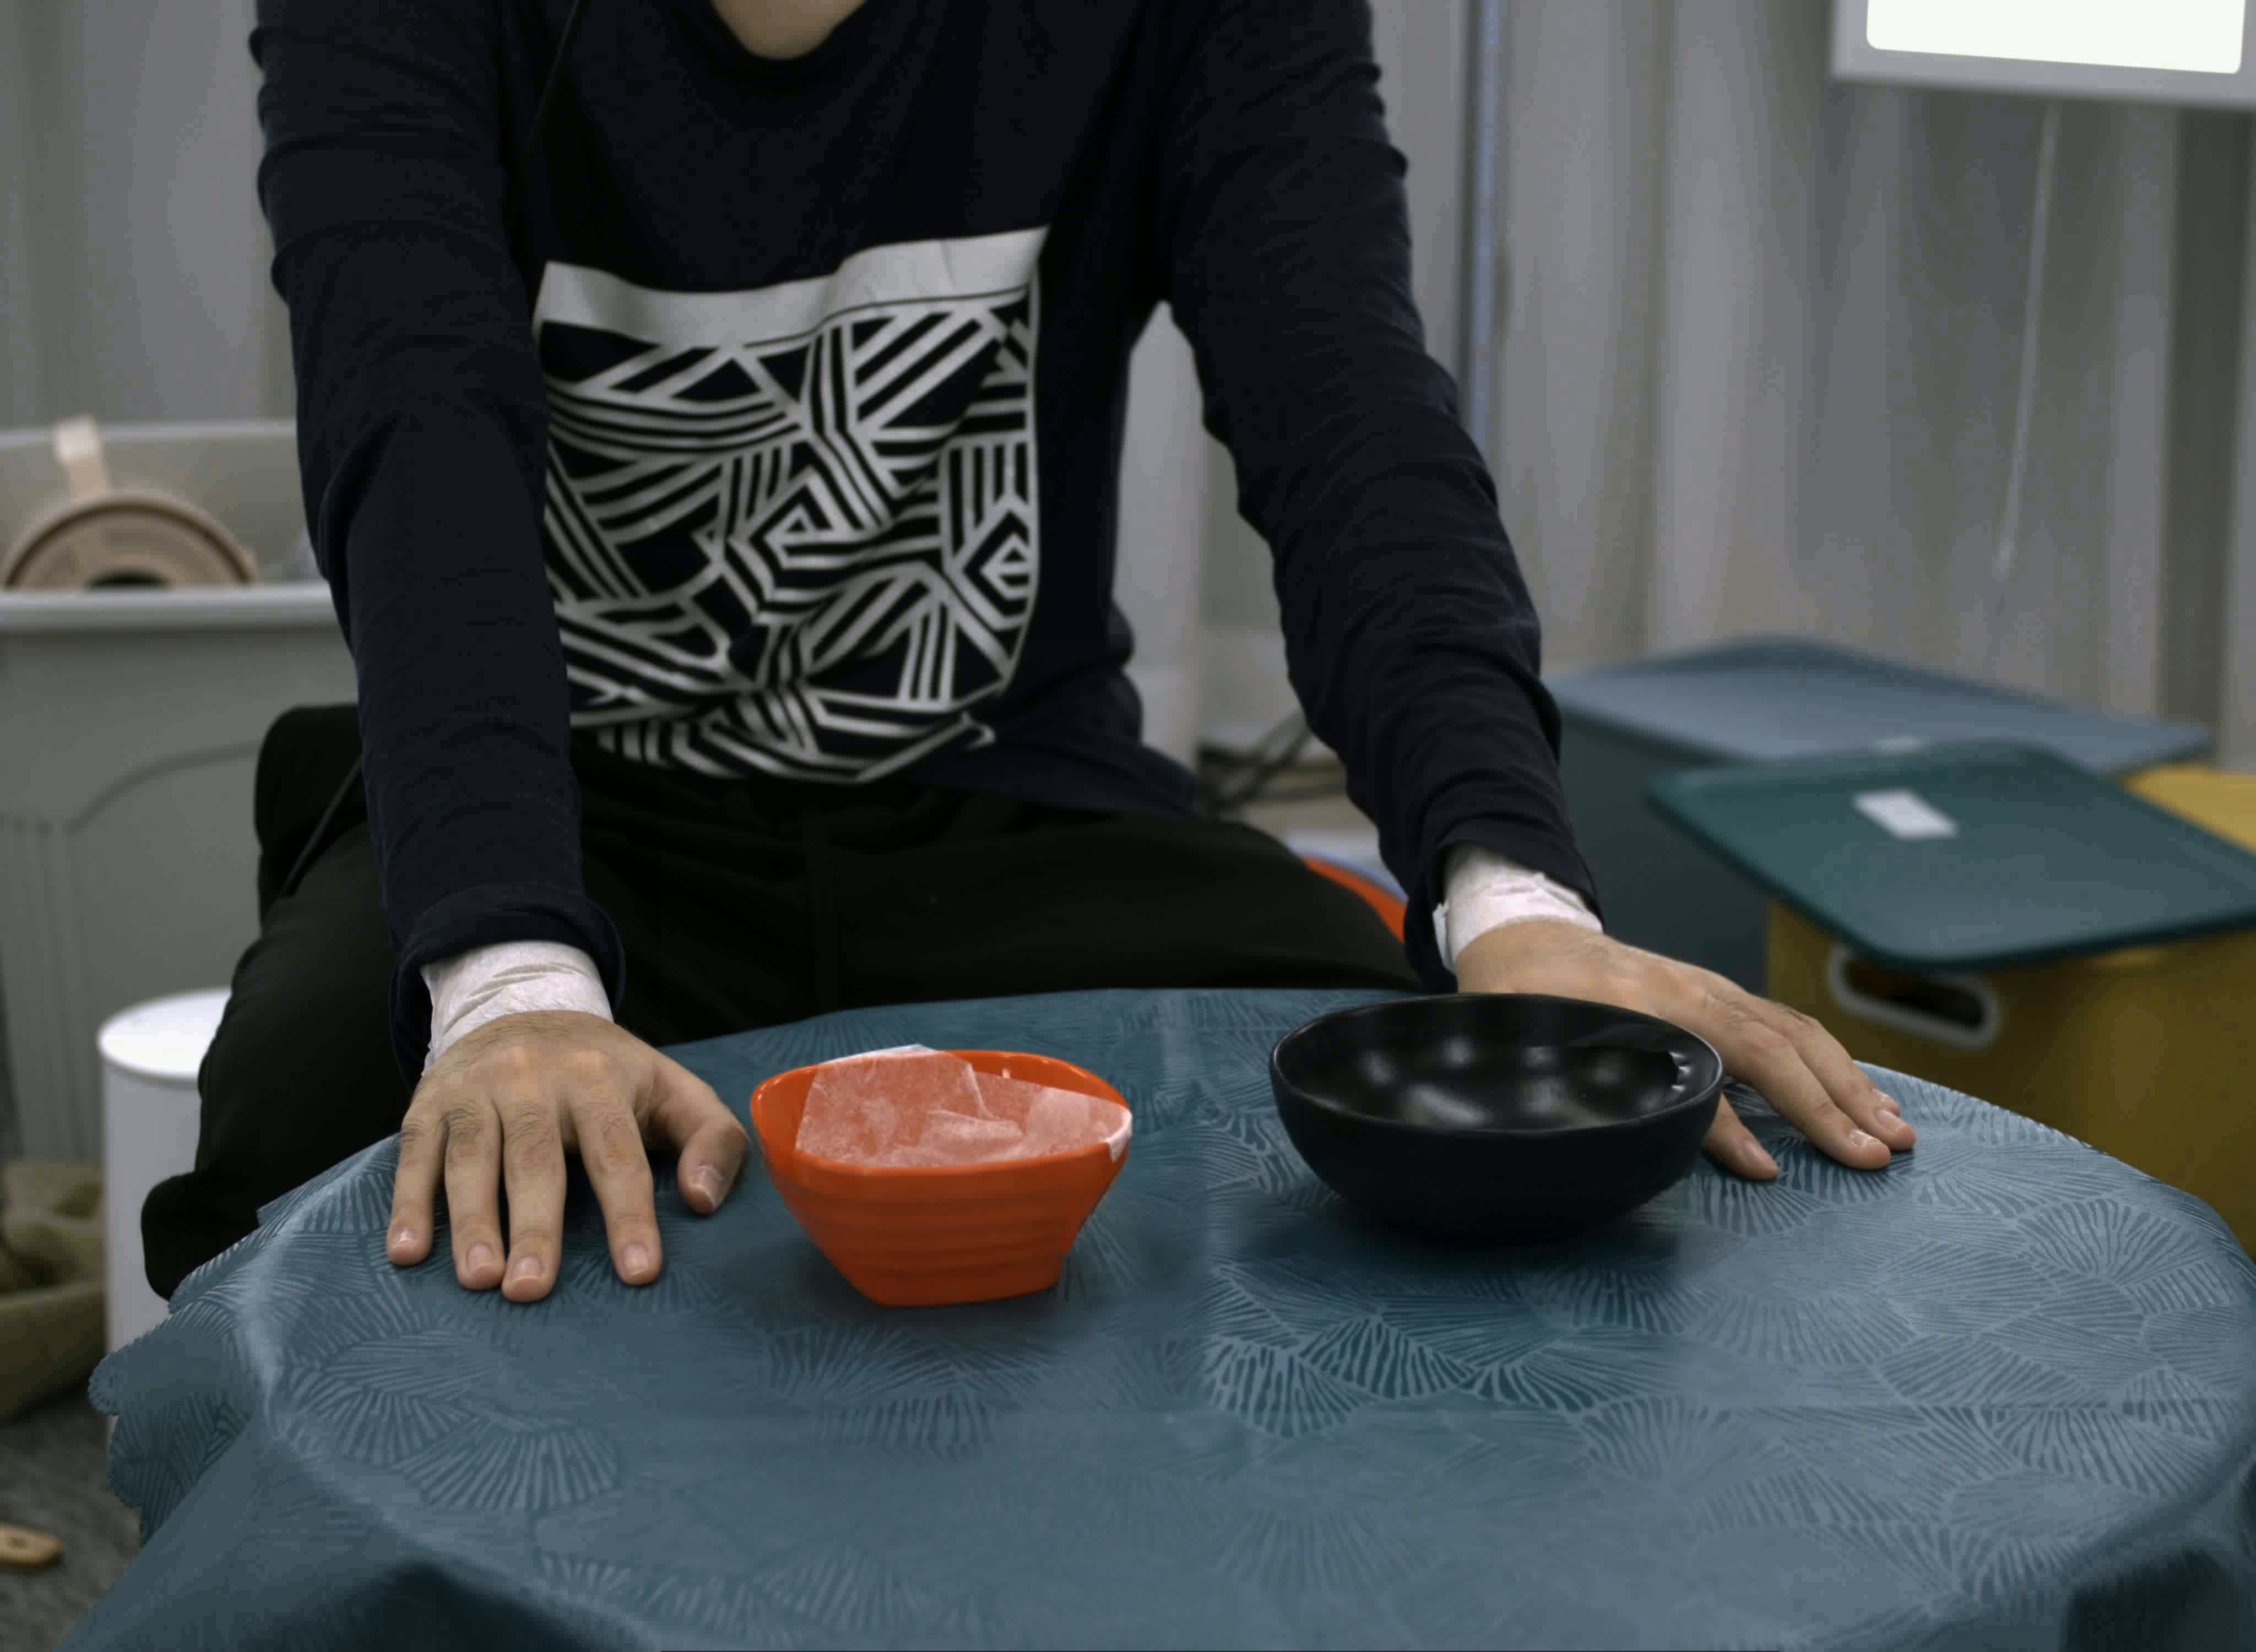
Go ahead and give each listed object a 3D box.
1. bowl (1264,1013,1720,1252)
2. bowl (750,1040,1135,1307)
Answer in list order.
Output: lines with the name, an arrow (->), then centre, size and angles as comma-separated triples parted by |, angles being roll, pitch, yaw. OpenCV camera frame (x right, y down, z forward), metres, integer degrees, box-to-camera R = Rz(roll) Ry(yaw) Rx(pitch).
bowl -> 0.111, 0.097, 1.605 | 0.139, 0.050, 0.139 | -1, 11, 1
bowl -> -0.055, 0.105, 1.552 | 0.118, 0.052, 0.118 | 0, 17, 1
